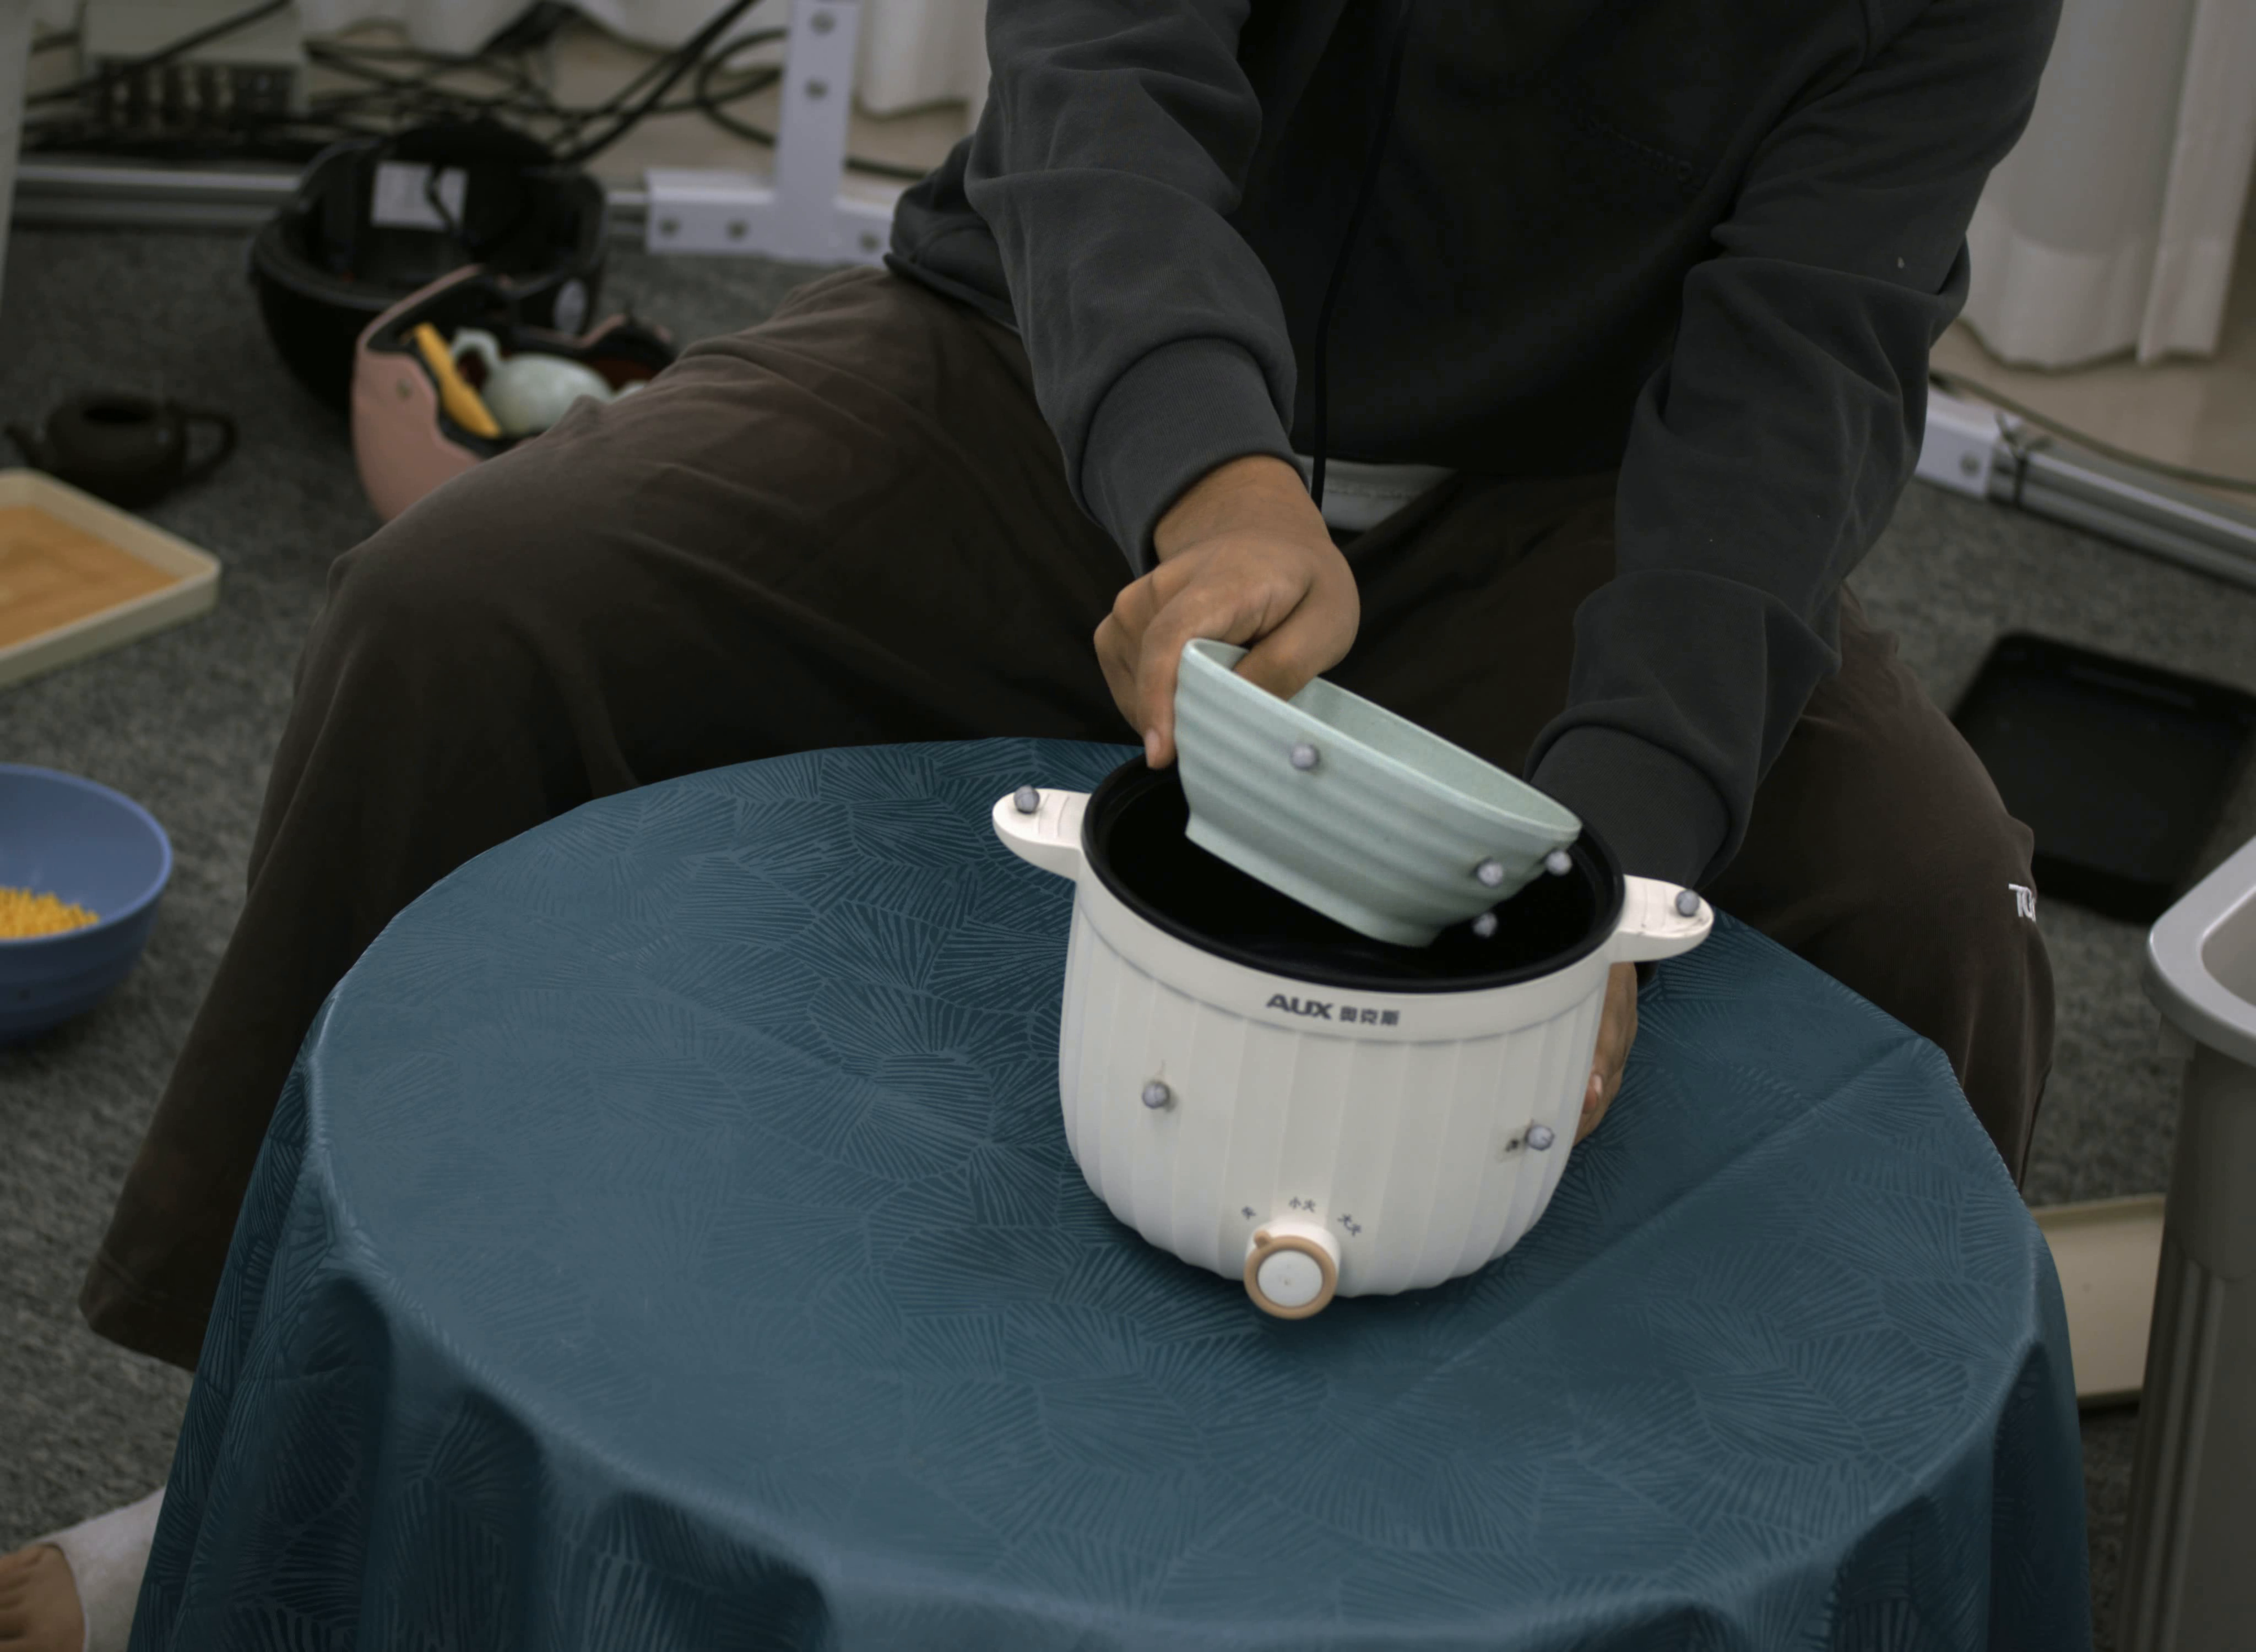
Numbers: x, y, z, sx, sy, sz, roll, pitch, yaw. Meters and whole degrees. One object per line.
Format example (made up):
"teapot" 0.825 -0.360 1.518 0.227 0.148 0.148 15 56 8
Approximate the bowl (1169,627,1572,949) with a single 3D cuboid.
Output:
"bowl" 0.069 -0.006 1.739 0.151 0.058 0.152 28 9 -5

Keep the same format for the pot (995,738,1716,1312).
"pot" 0.069 0.067 1.778 0.240 0.142 0.191 6 23 2
